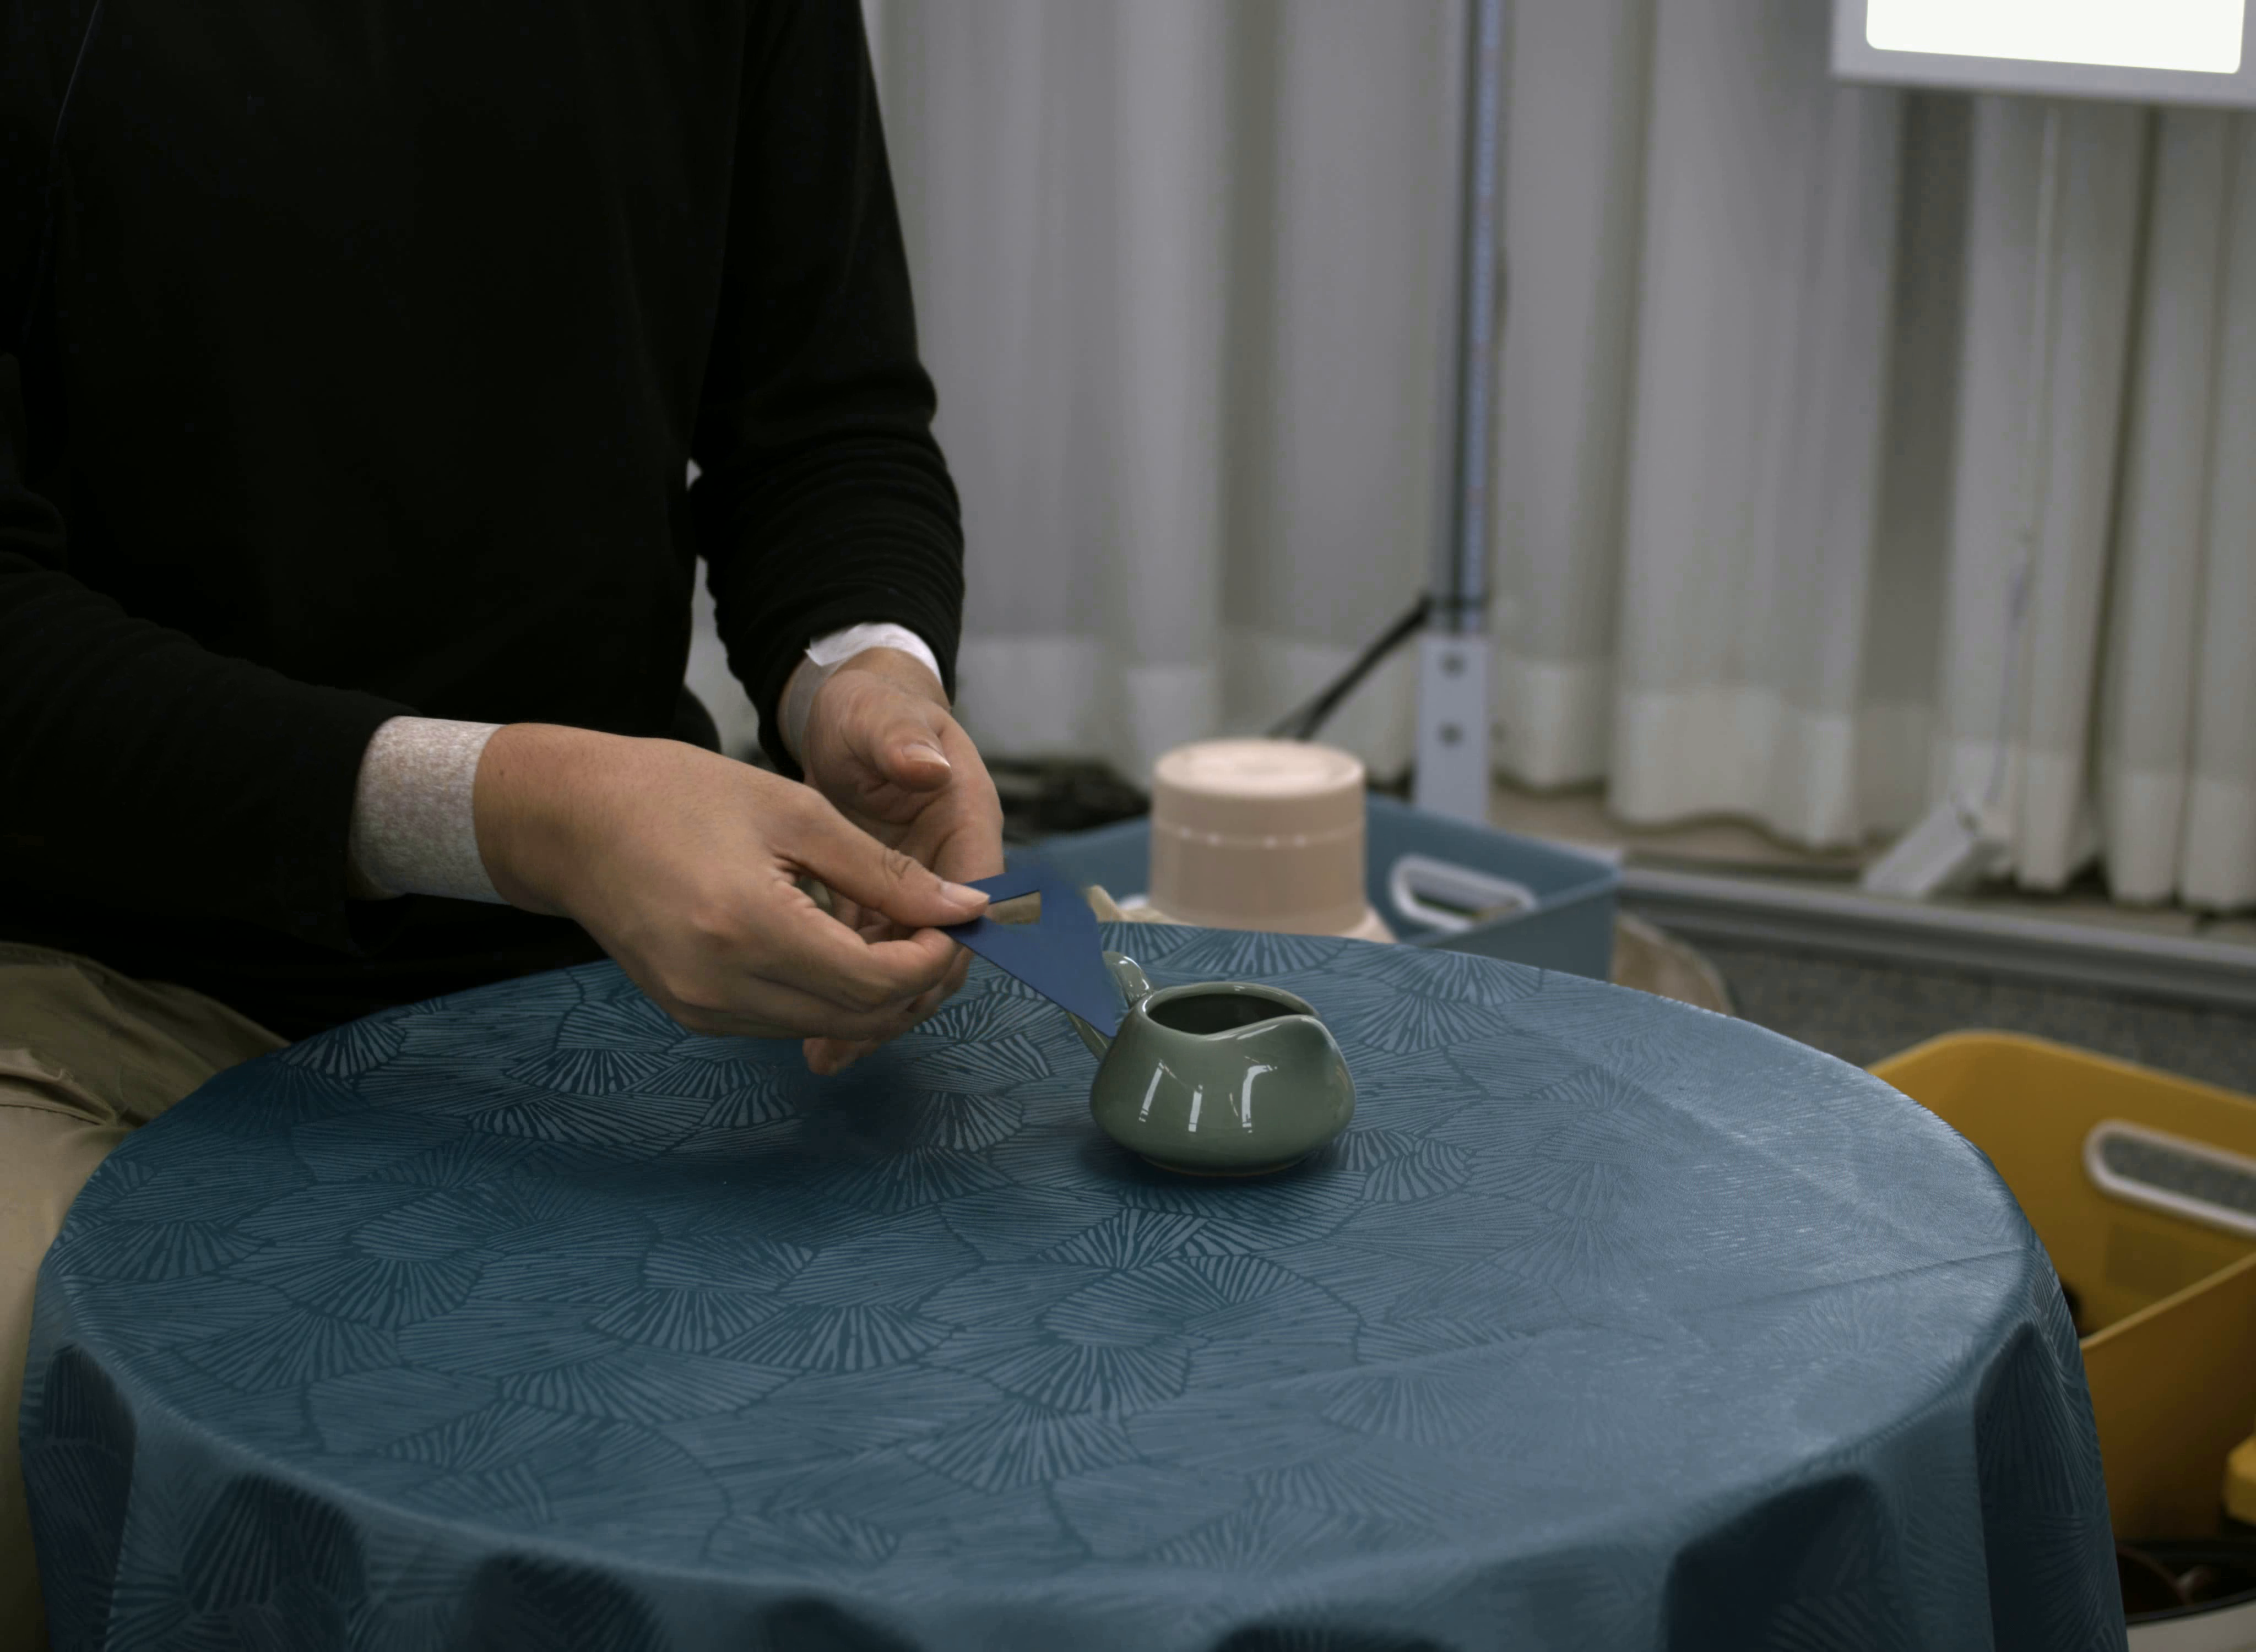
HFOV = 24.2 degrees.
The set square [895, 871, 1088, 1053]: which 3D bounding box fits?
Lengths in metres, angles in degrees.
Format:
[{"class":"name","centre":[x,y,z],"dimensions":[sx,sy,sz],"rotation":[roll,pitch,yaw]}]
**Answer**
[{"class":"set square","centre":[-0.042,0.039,1.605],"dimensions":[0.061,0.006,0.131],"rotation":[2,24,-1]}]

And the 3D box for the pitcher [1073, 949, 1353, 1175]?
[{"class":"pitcher","centre":[0.024,0.074,1.654],"dimensions":[0.111,0.056,0.084],"rotation":[13,17,38]}]
